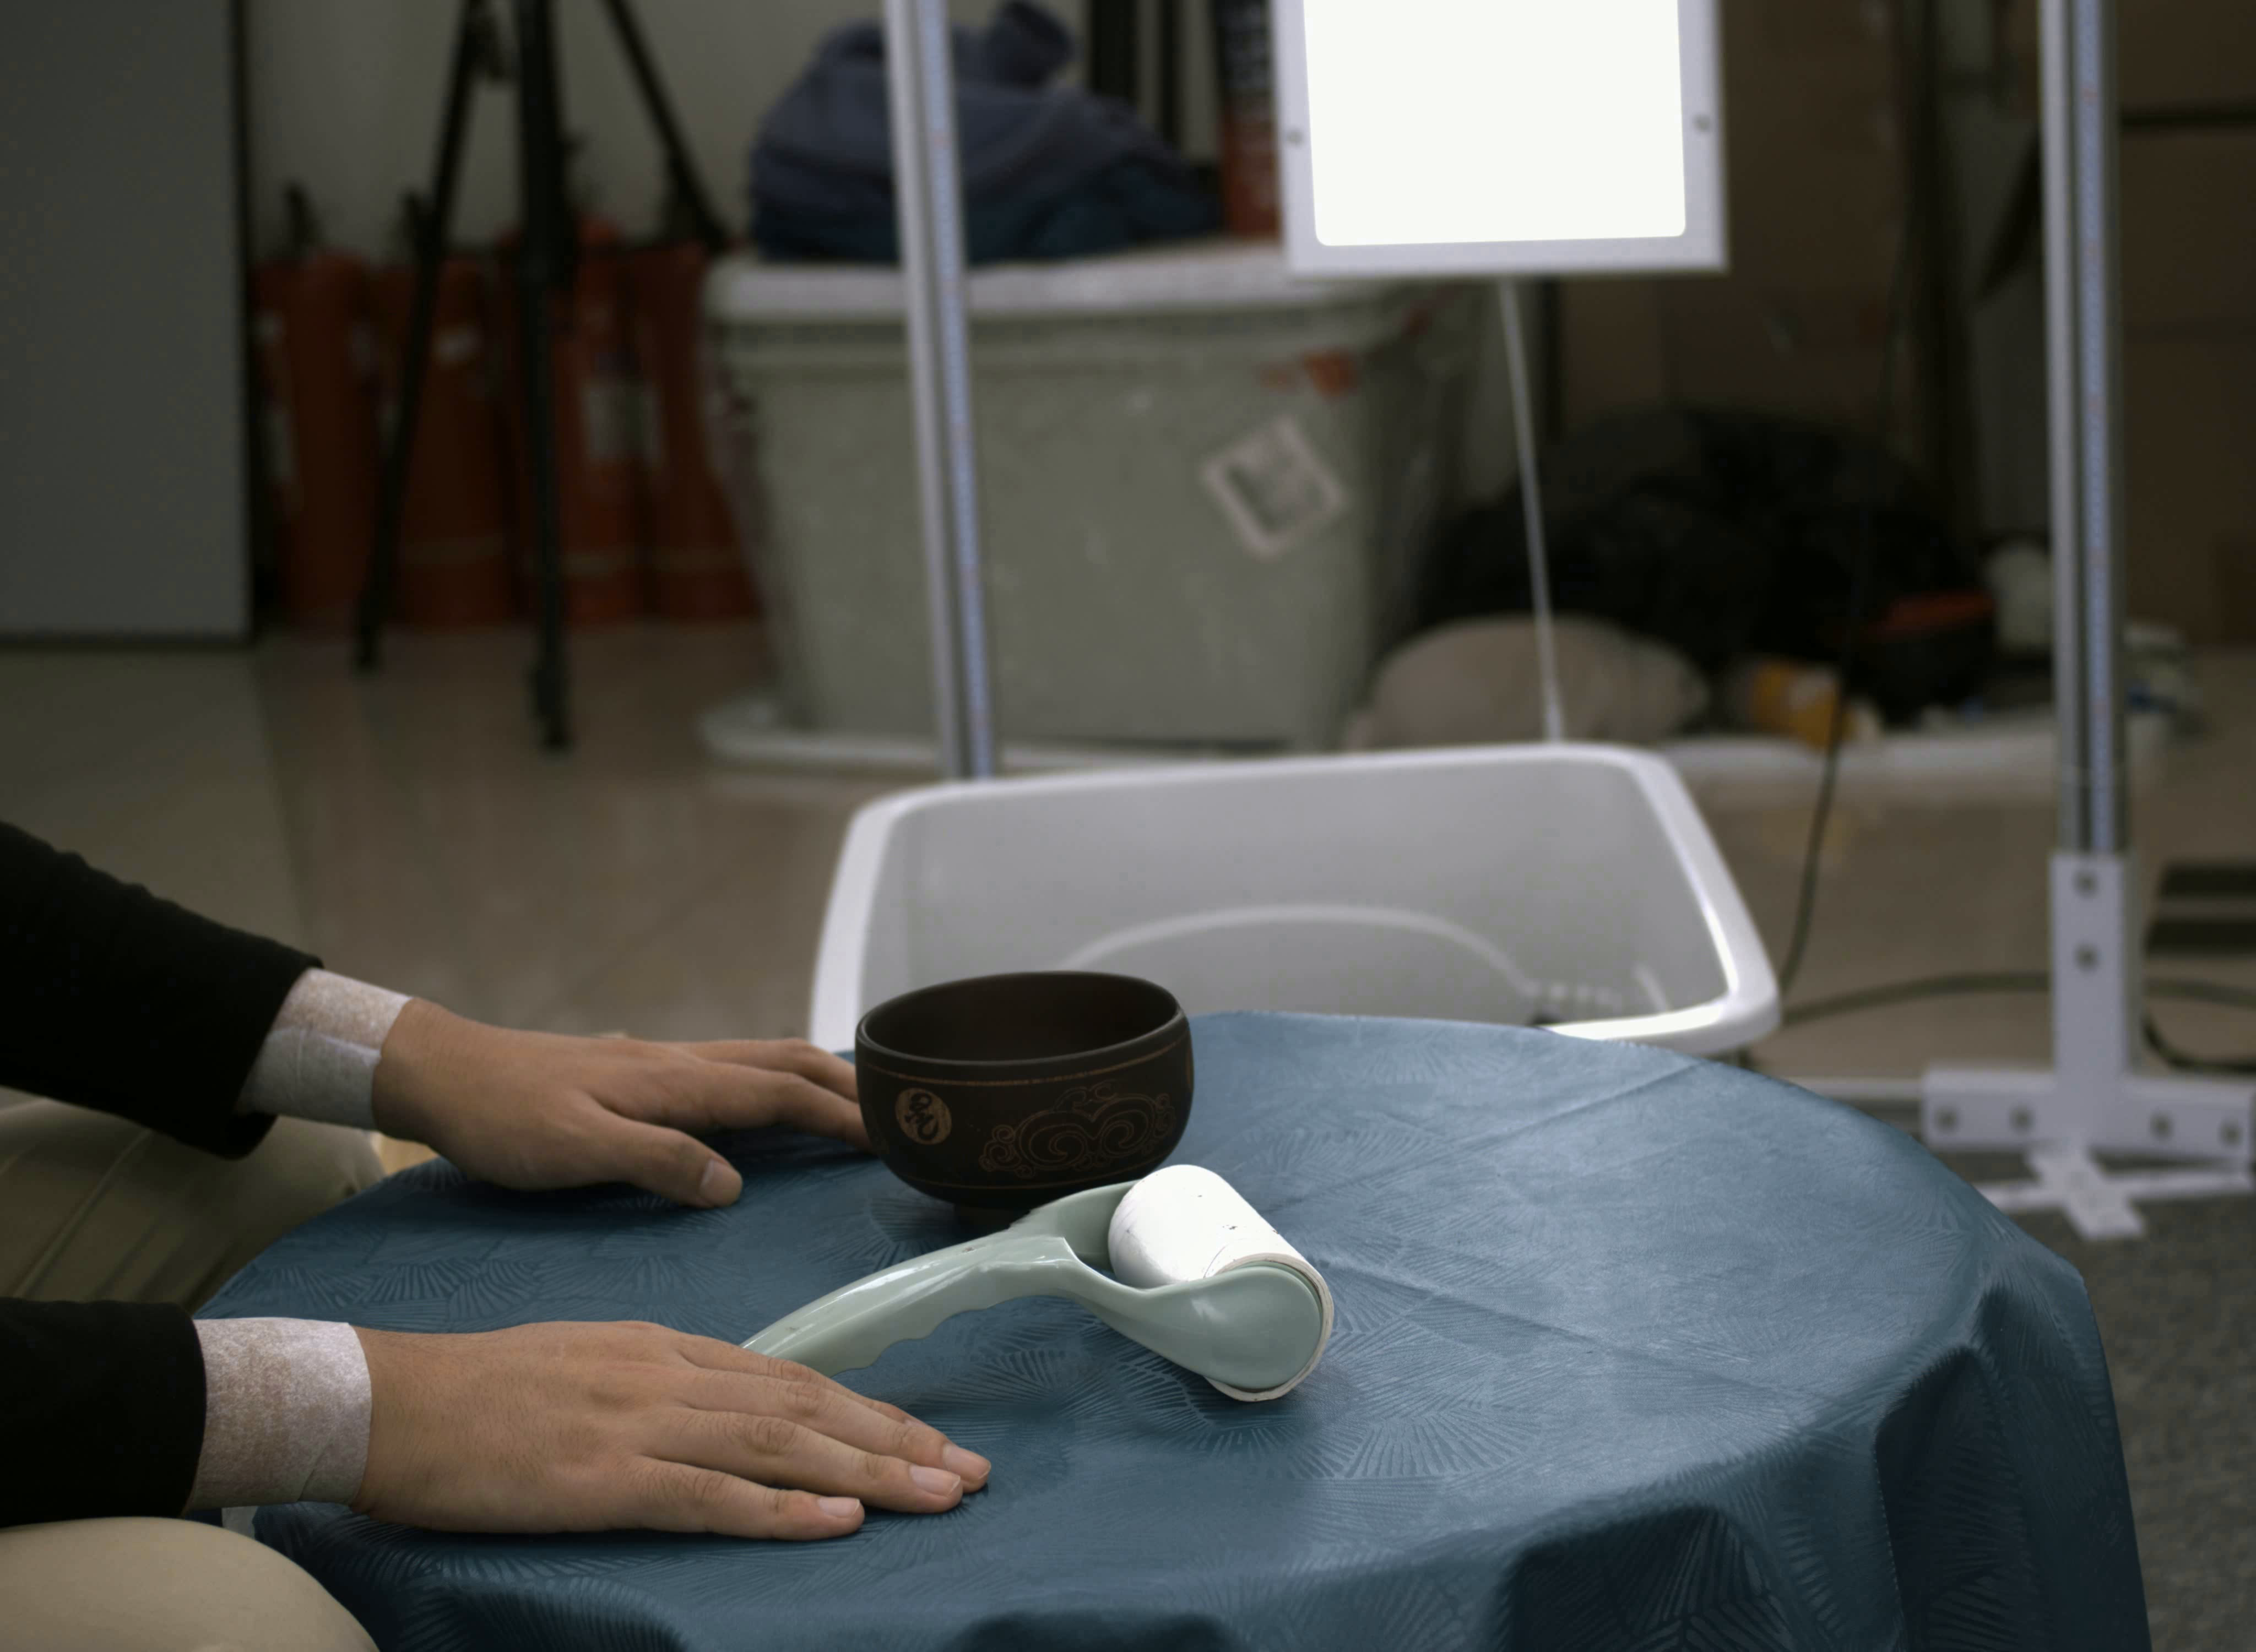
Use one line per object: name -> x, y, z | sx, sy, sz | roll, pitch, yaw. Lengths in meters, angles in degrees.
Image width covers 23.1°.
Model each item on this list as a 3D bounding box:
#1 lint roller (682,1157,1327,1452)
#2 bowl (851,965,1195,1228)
lint roller -> -0.045, 0.152, 1.717 | 0.195, 0.048, 0.117 | -10, 15, -11
bowl -> -0.034, 0.096, 1.884 | 0.118, 0.070, 0.118 | -6, 15, 0
